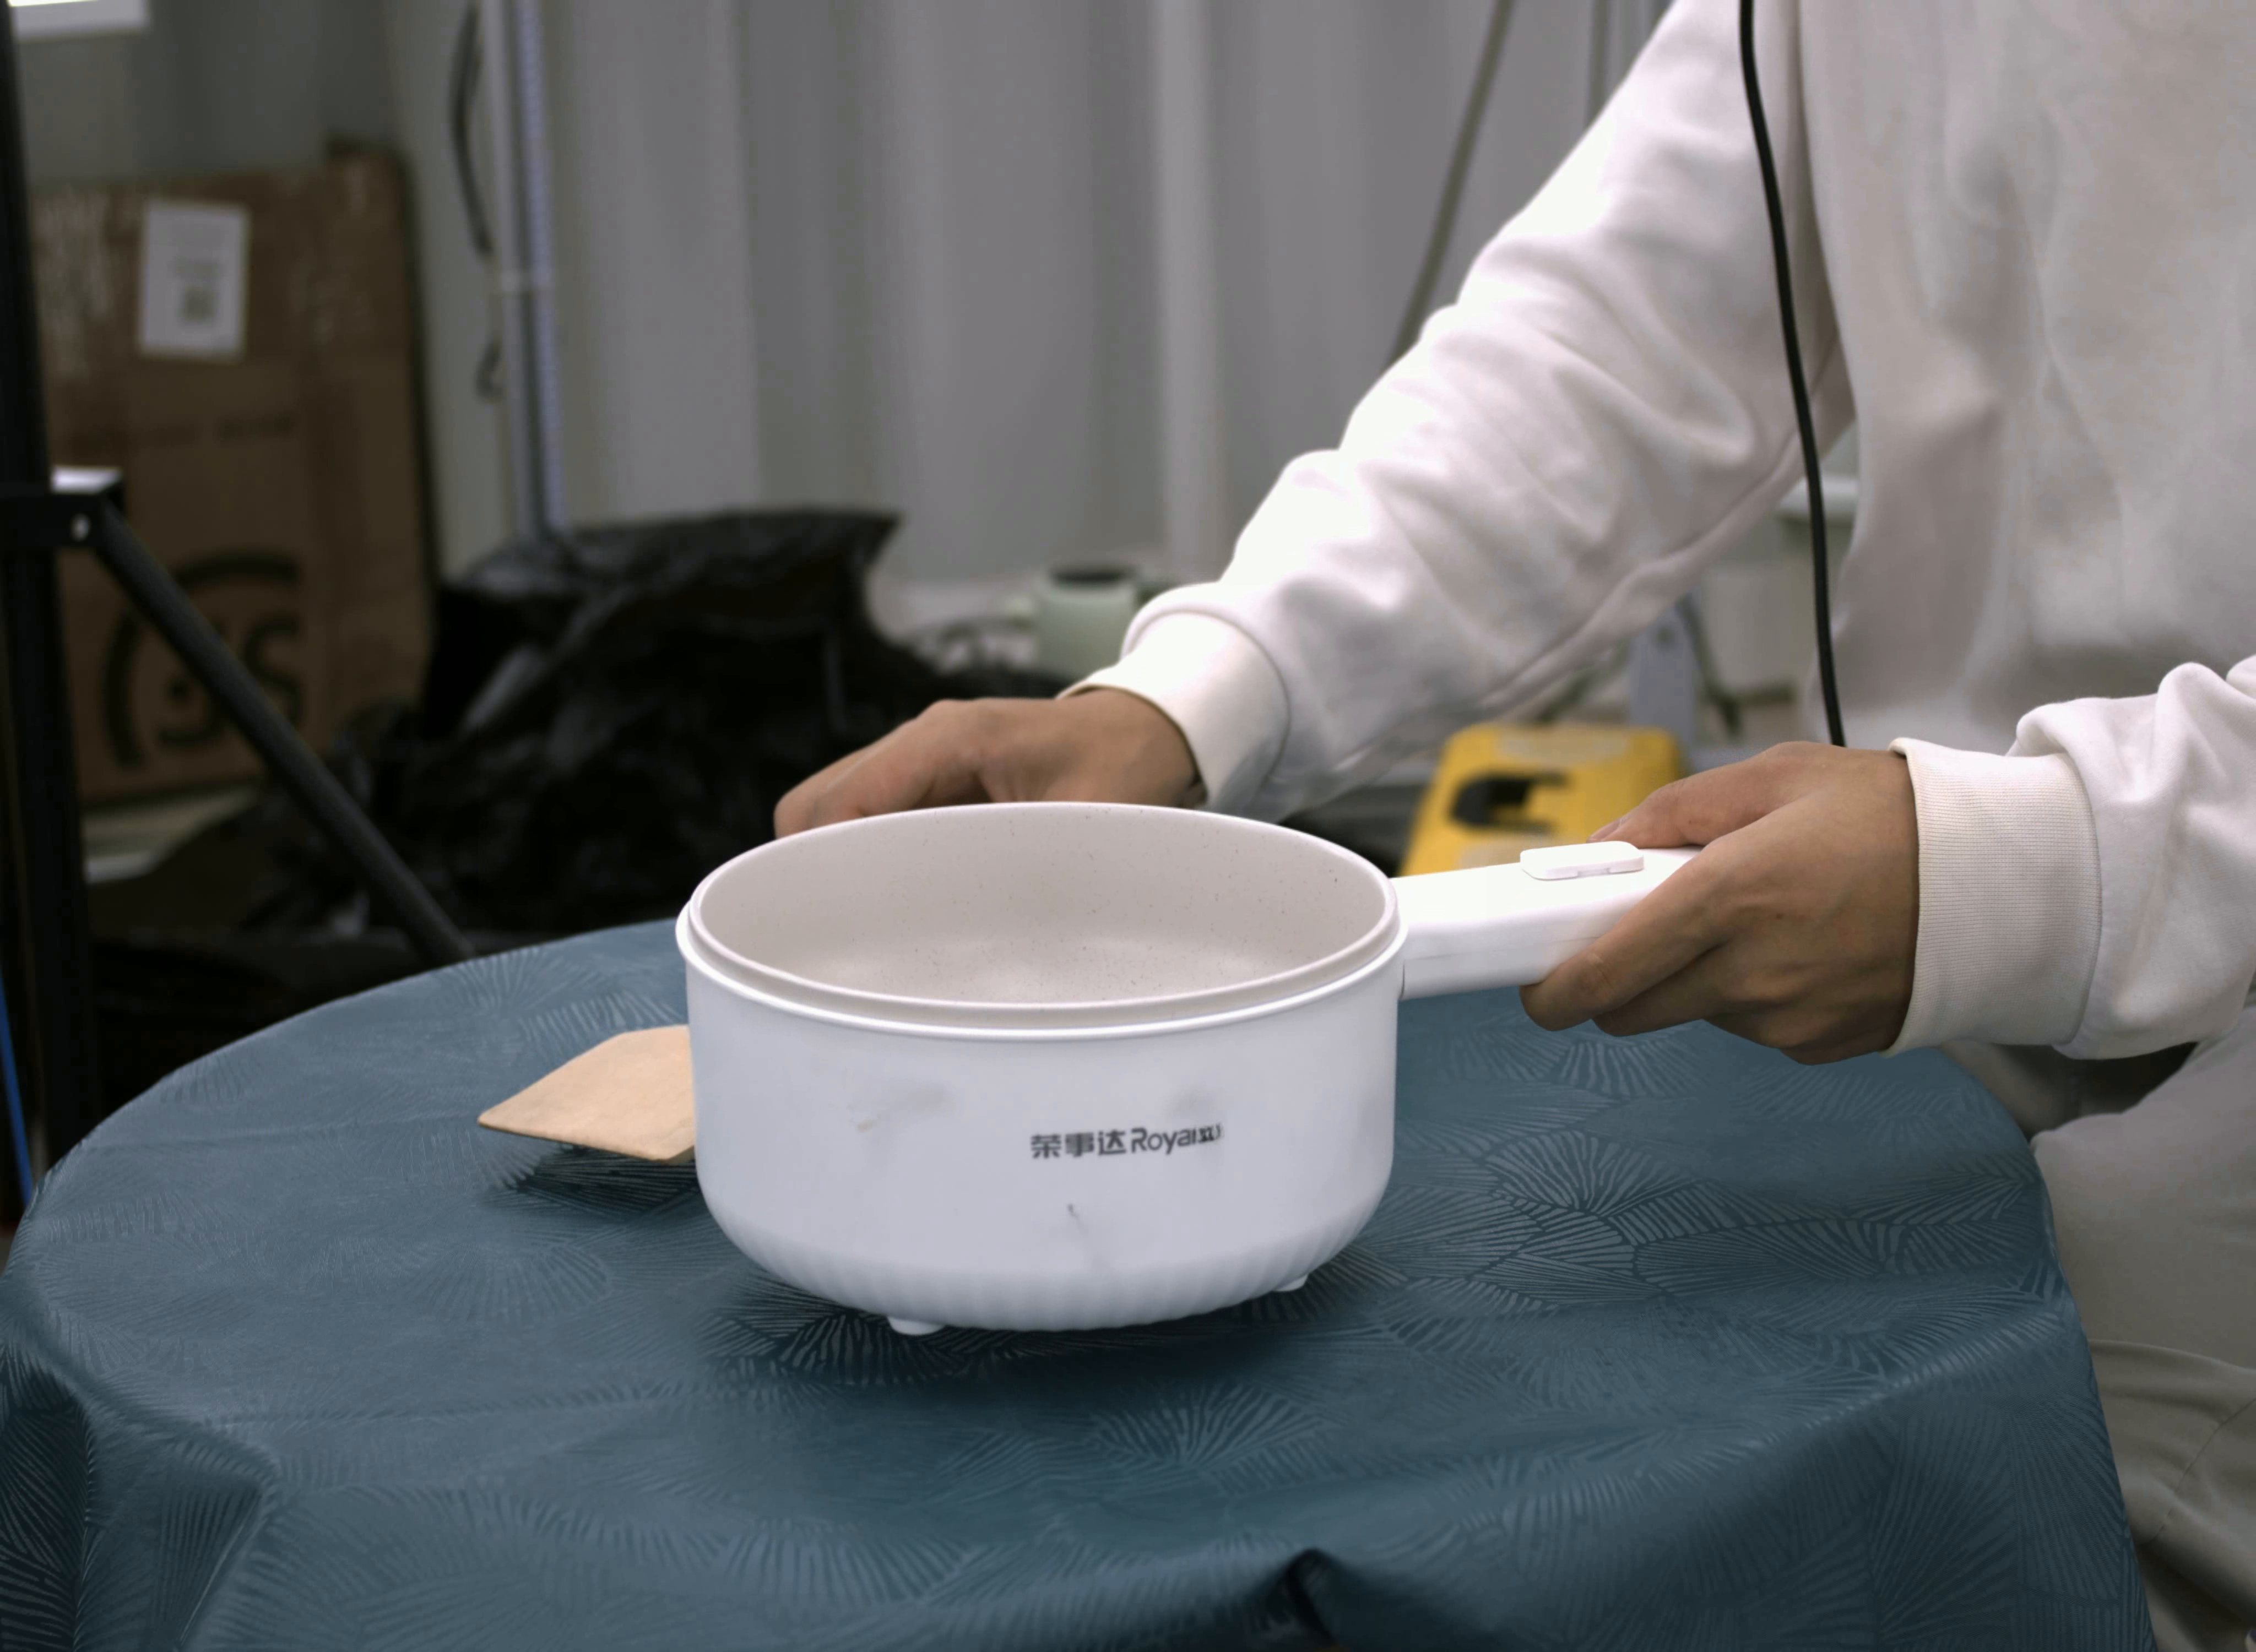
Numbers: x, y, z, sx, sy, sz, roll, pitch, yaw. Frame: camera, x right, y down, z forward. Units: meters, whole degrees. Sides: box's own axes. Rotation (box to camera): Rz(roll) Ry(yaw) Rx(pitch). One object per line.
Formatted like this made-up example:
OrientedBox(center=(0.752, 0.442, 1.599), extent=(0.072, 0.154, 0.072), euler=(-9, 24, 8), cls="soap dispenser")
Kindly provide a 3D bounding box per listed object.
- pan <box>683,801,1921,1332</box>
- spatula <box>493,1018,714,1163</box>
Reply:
OrientedBox(center=(0.051, 0.062, 1.485), extent=(0.349, 0.102, 0.204), euler=(-5, 16, -15), cls="pan")
OrientedBox(center=(-0.097, 0.051, 1.691), extent=(0.073, 0.010, 0.288), euler=(8, 22, 26), cls="spatula")
